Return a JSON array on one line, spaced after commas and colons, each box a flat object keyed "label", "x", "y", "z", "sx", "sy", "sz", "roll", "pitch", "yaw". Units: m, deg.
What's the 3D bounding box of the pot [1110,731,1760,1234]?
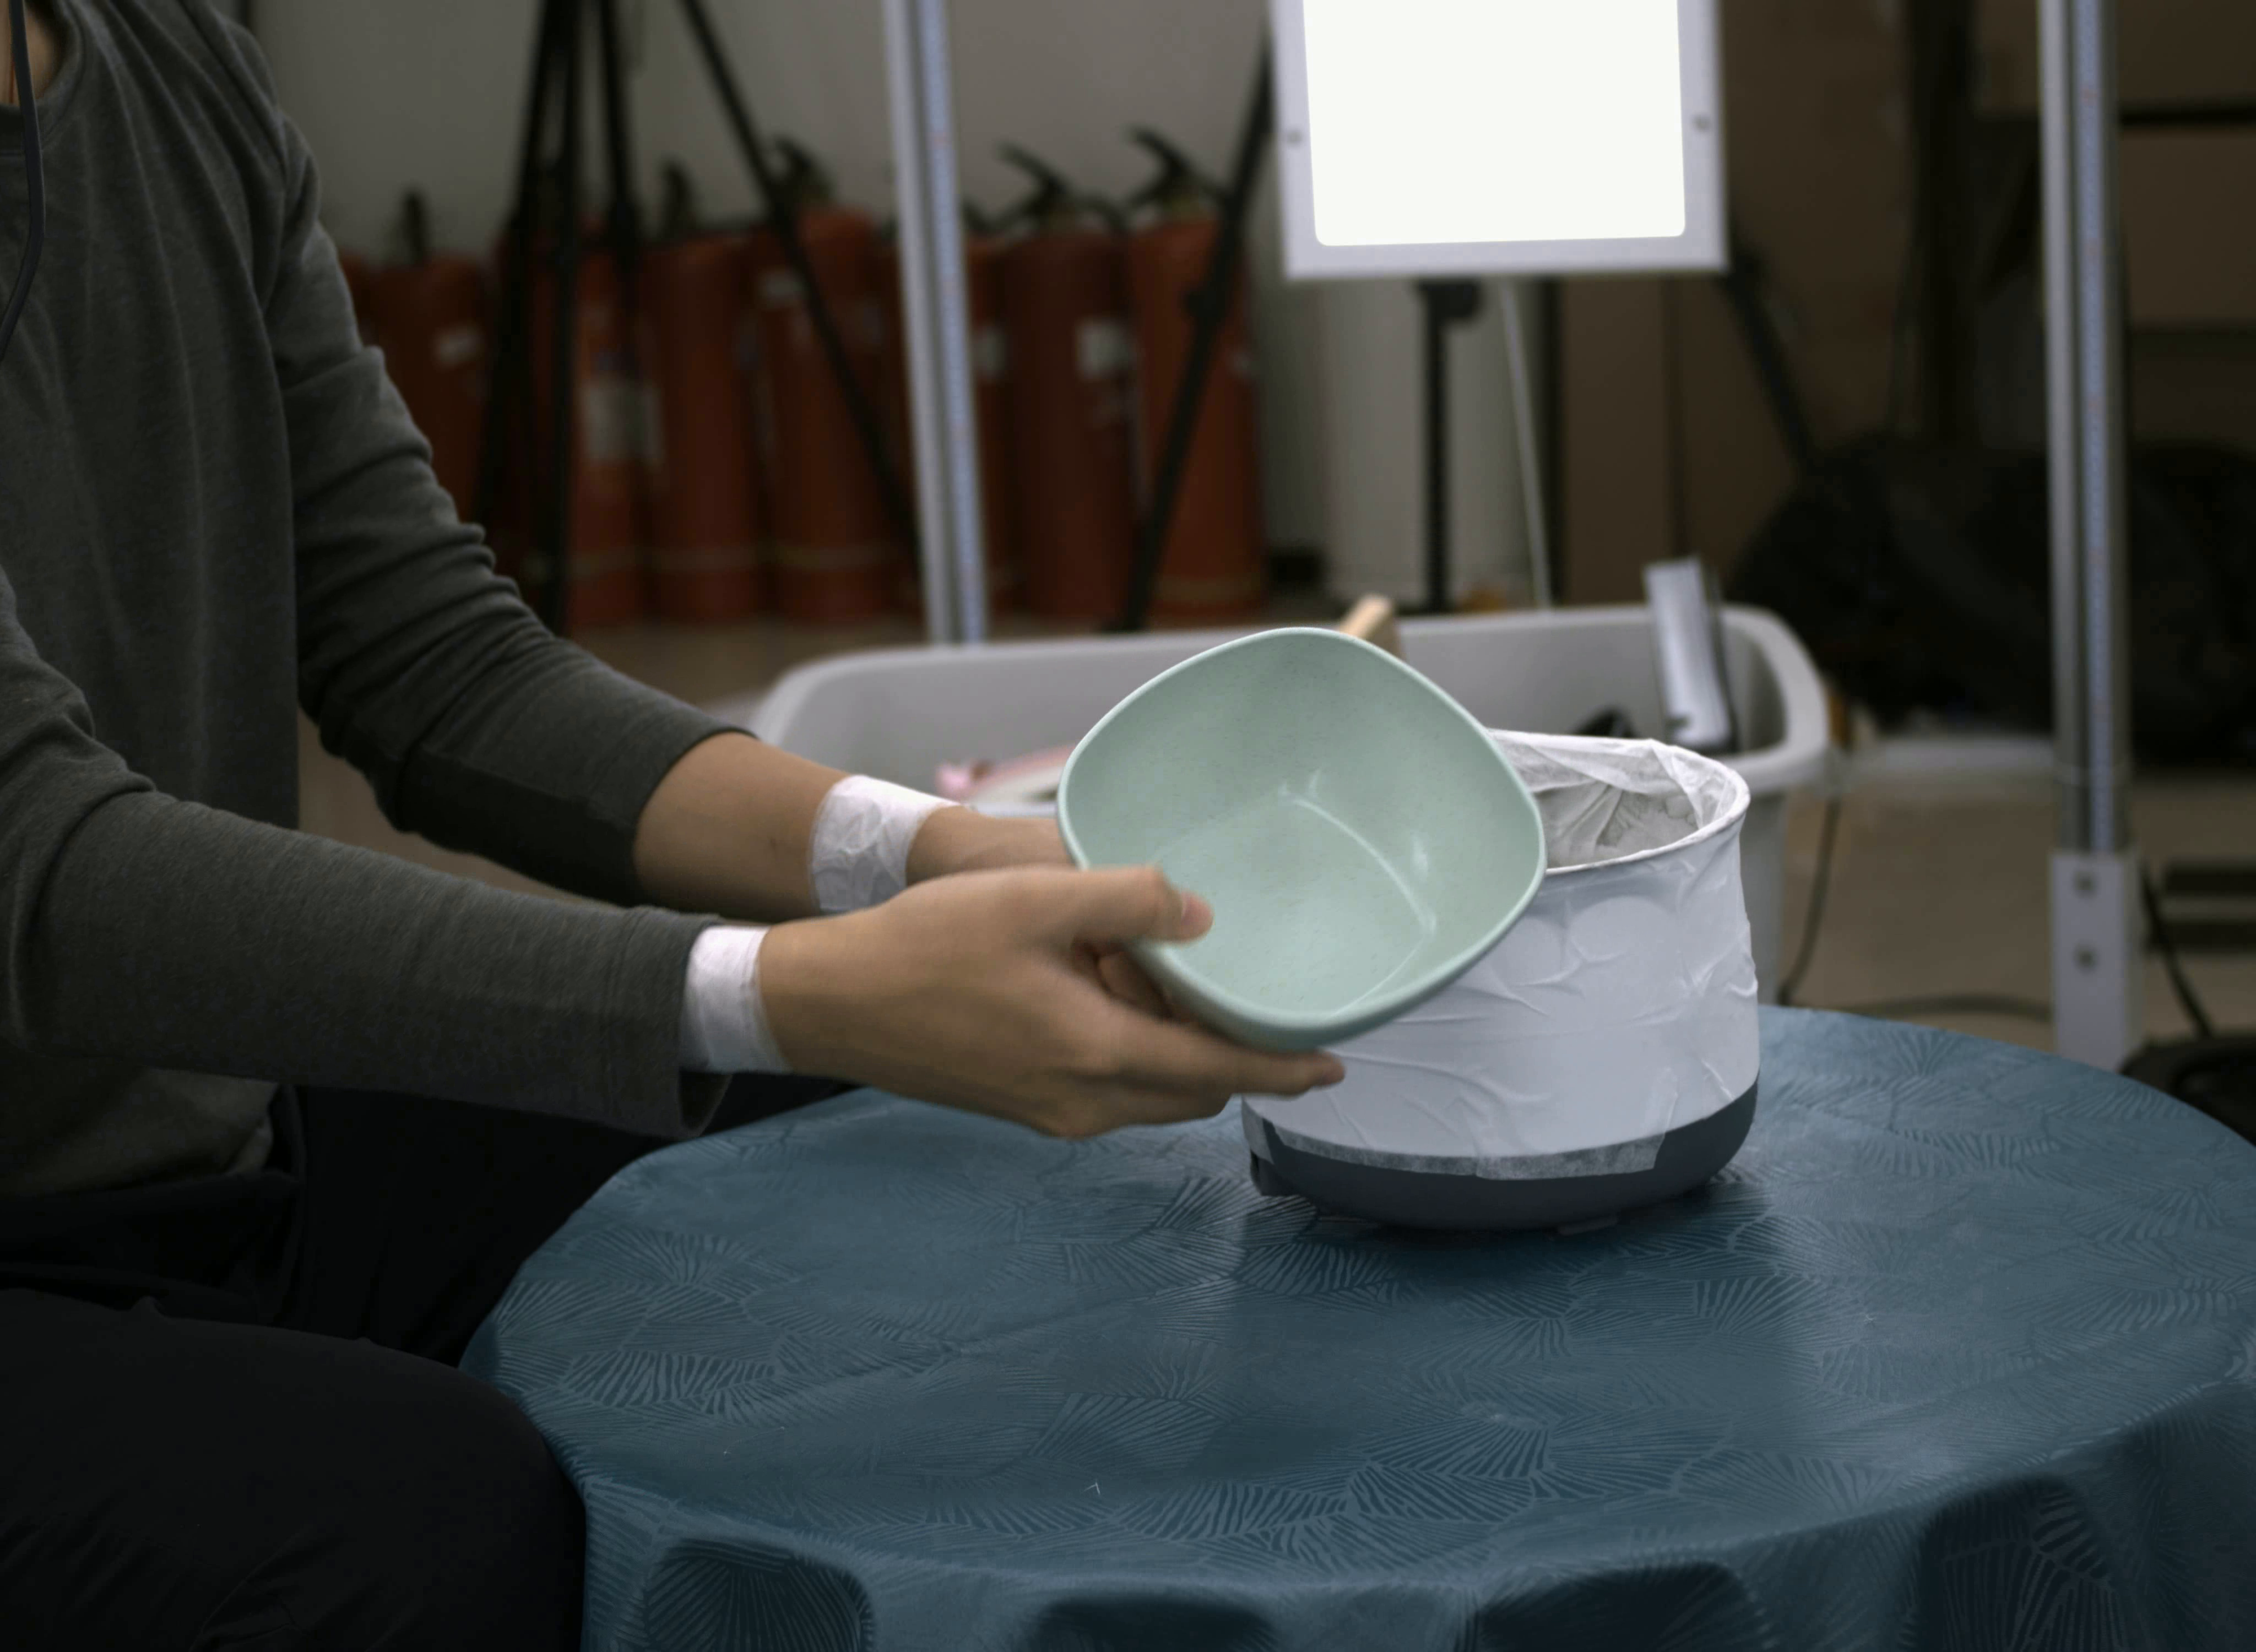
[{"label": "pot", "x": 0.100, "y": 0.051, "z": 1.875, "sx": 0.237, "sy": 0.137, "sz": 0.175, "roll": 3, "pitch": 17, "yaw": 26}]

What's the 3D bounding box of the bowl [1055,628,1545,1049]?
[{"label": "bowl", "x": 0.050, "y": 0.014, "z": 1.696, "sx": 0.150, "sy": 0.059, "sz": 0.151, "roll": 2, "pitch": 51, "yaw": -4}]
